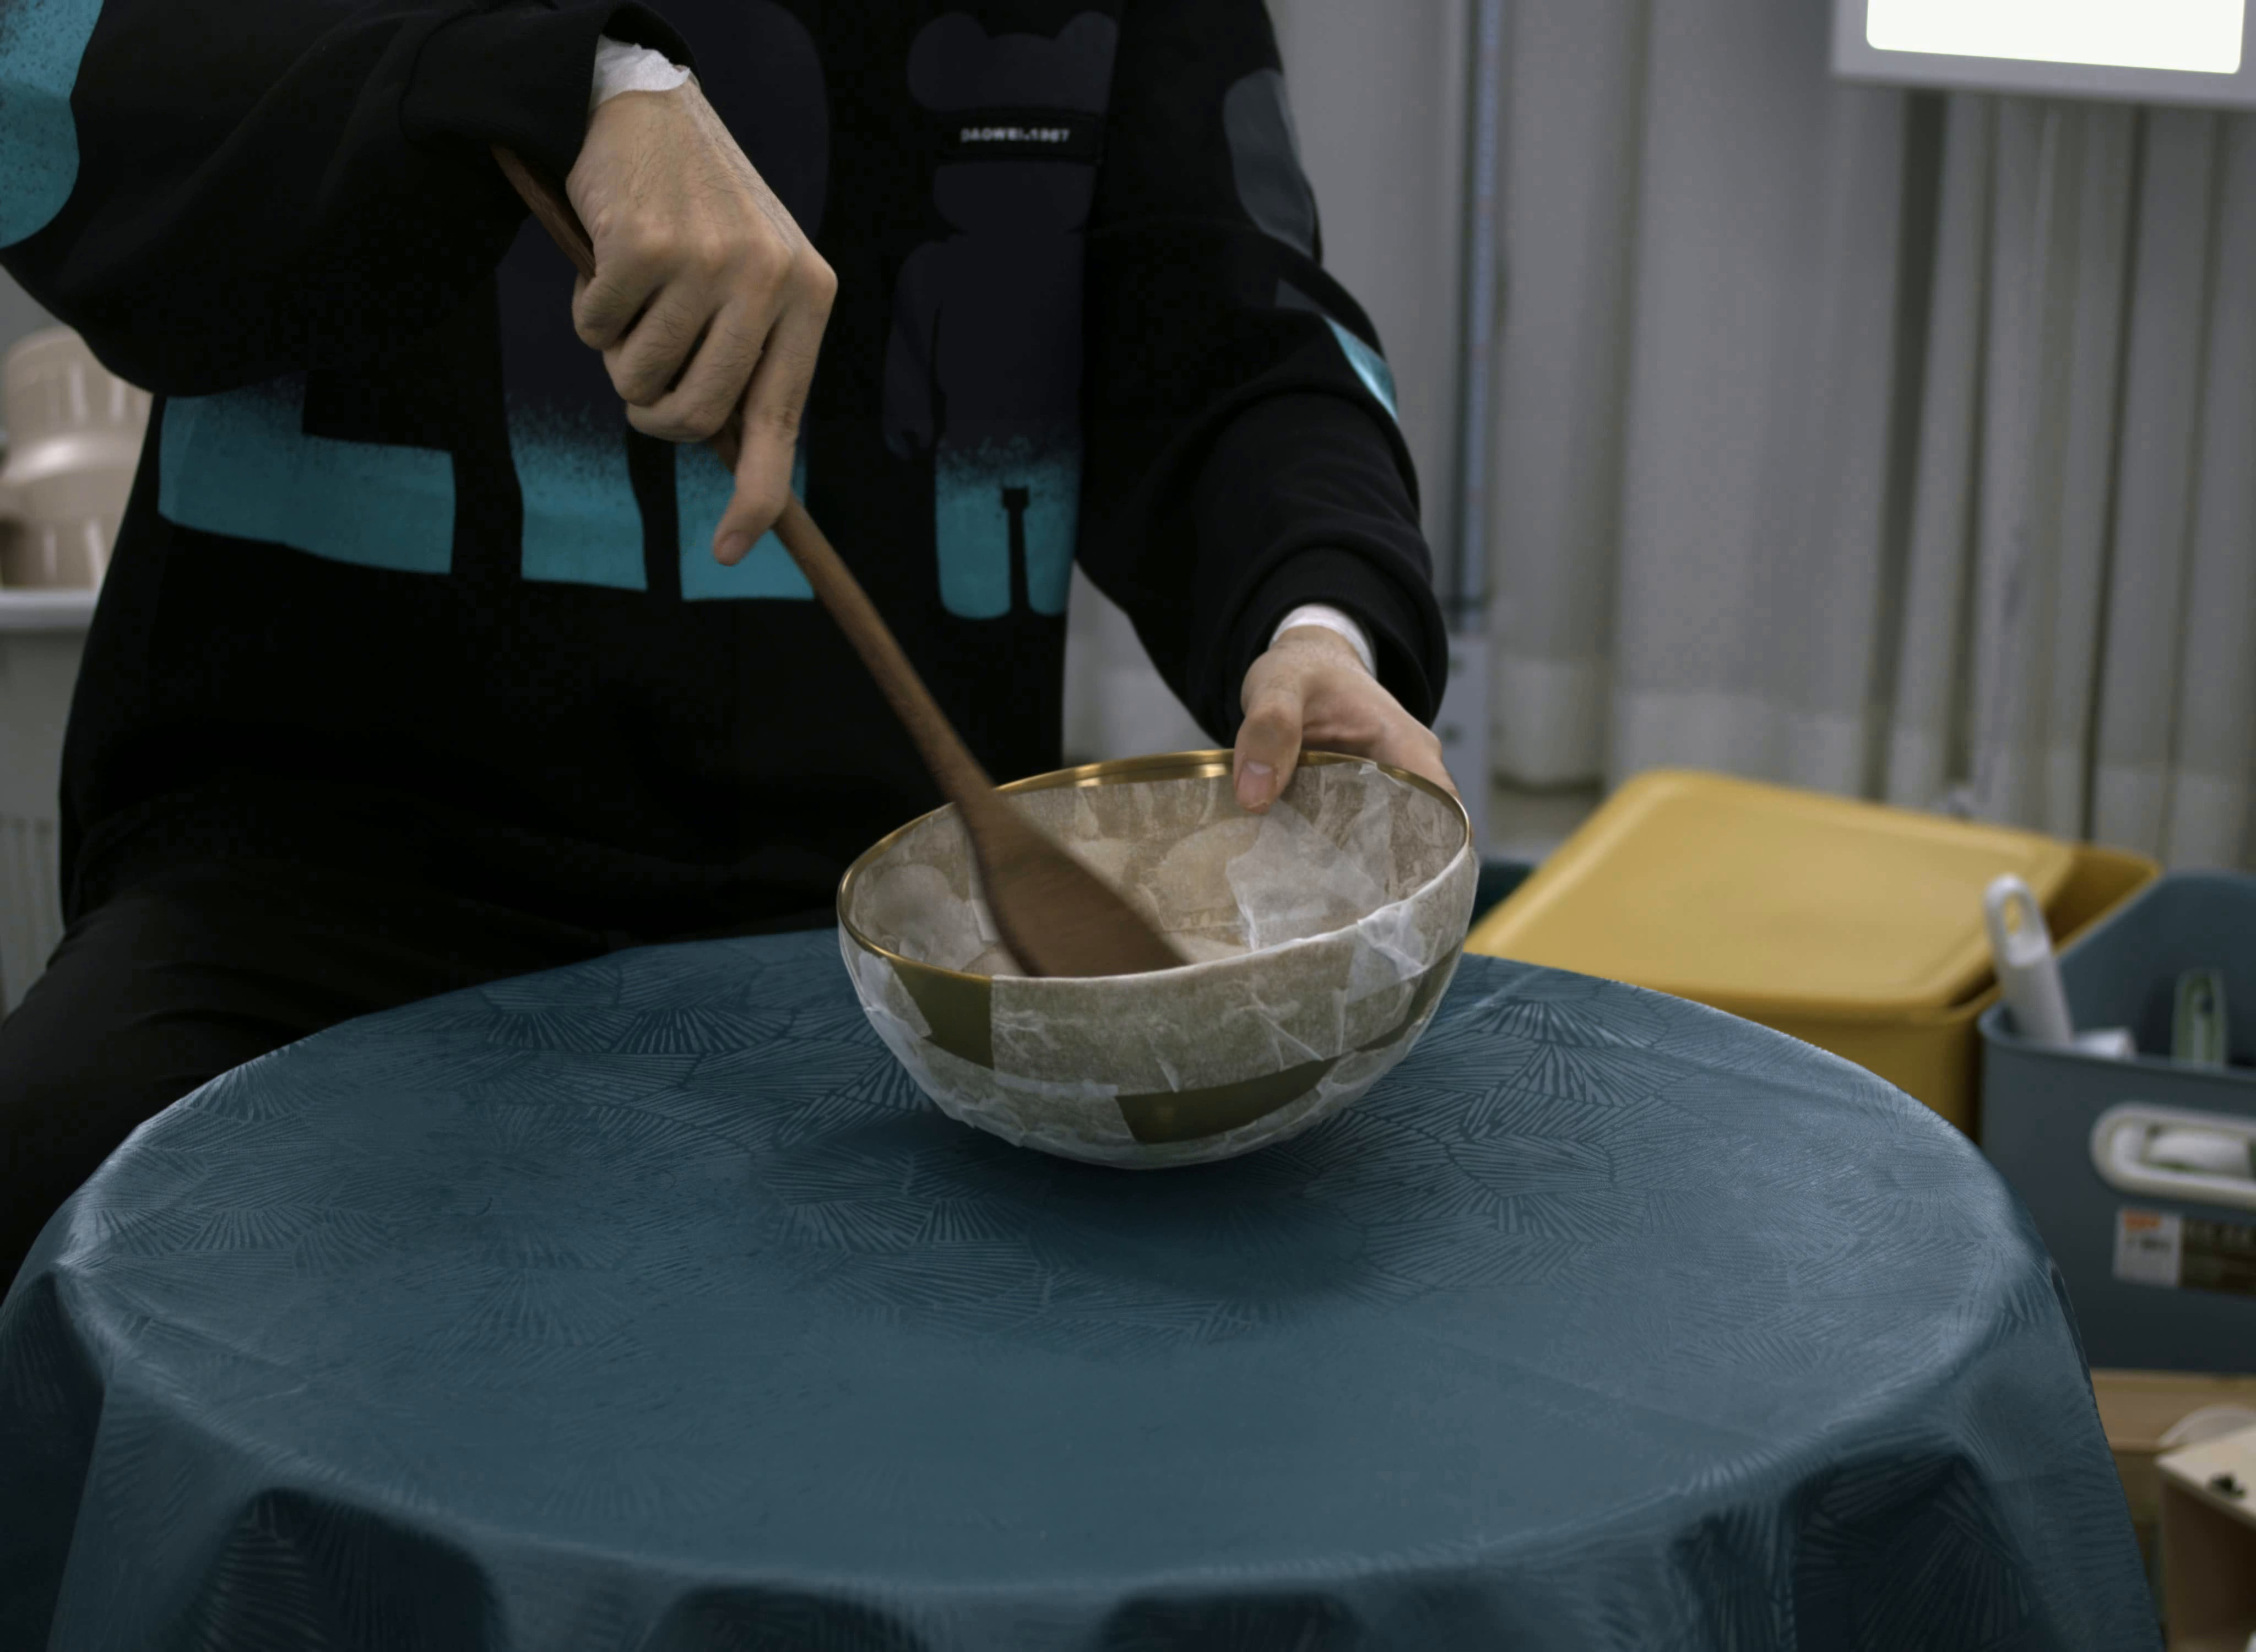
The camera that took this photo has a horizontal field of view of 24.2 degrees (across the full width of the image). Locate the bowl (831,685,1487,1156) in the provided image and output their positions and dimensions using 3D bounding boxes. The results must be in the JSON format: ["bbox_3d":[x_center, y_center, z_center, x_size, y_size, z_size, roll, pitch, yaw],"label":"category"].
[{"bbox_3d":[0.014,0.041,1.655,0.214,0.096,0.213,-5,28,3],"label":"bowl"}]

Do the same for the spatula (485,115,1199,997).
[{"bbox_3d":[-0.094,-0.075,1.670,0.016,0.385,0.096,-38,-8,23],"label":"spatula"}]
